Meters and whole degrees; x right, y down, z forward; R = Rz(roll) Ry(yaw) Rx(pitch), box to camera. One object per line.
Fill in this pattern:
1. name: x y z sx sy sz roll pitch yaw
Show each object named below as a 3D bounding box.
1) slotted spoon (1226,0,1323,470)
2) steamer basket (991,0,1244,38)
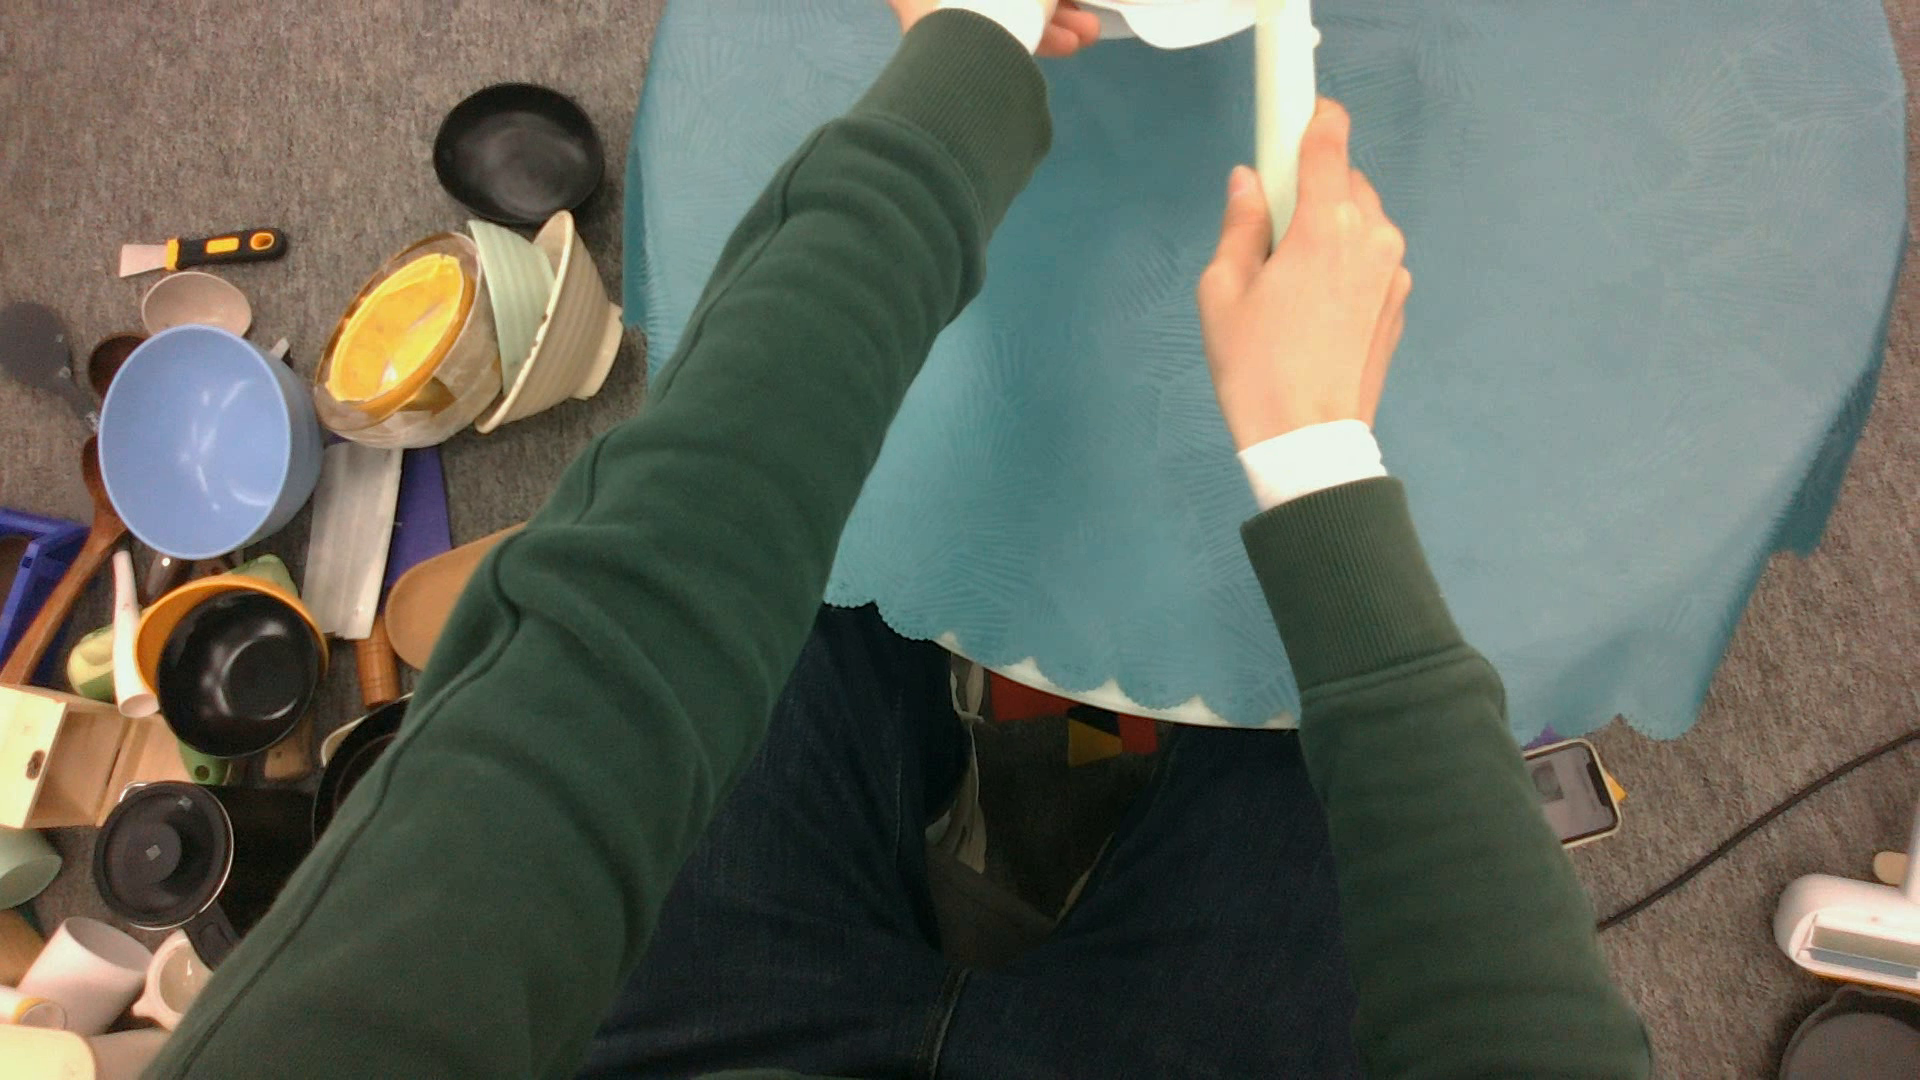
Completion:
1. slotted spoon: 0.116 -0.209 0.531 0.075 0.169 0.359 11 79 -34
2. steamer basket: 0.054 -0.324 0.587 0.202 0.069 0.230 -21 99 -12
